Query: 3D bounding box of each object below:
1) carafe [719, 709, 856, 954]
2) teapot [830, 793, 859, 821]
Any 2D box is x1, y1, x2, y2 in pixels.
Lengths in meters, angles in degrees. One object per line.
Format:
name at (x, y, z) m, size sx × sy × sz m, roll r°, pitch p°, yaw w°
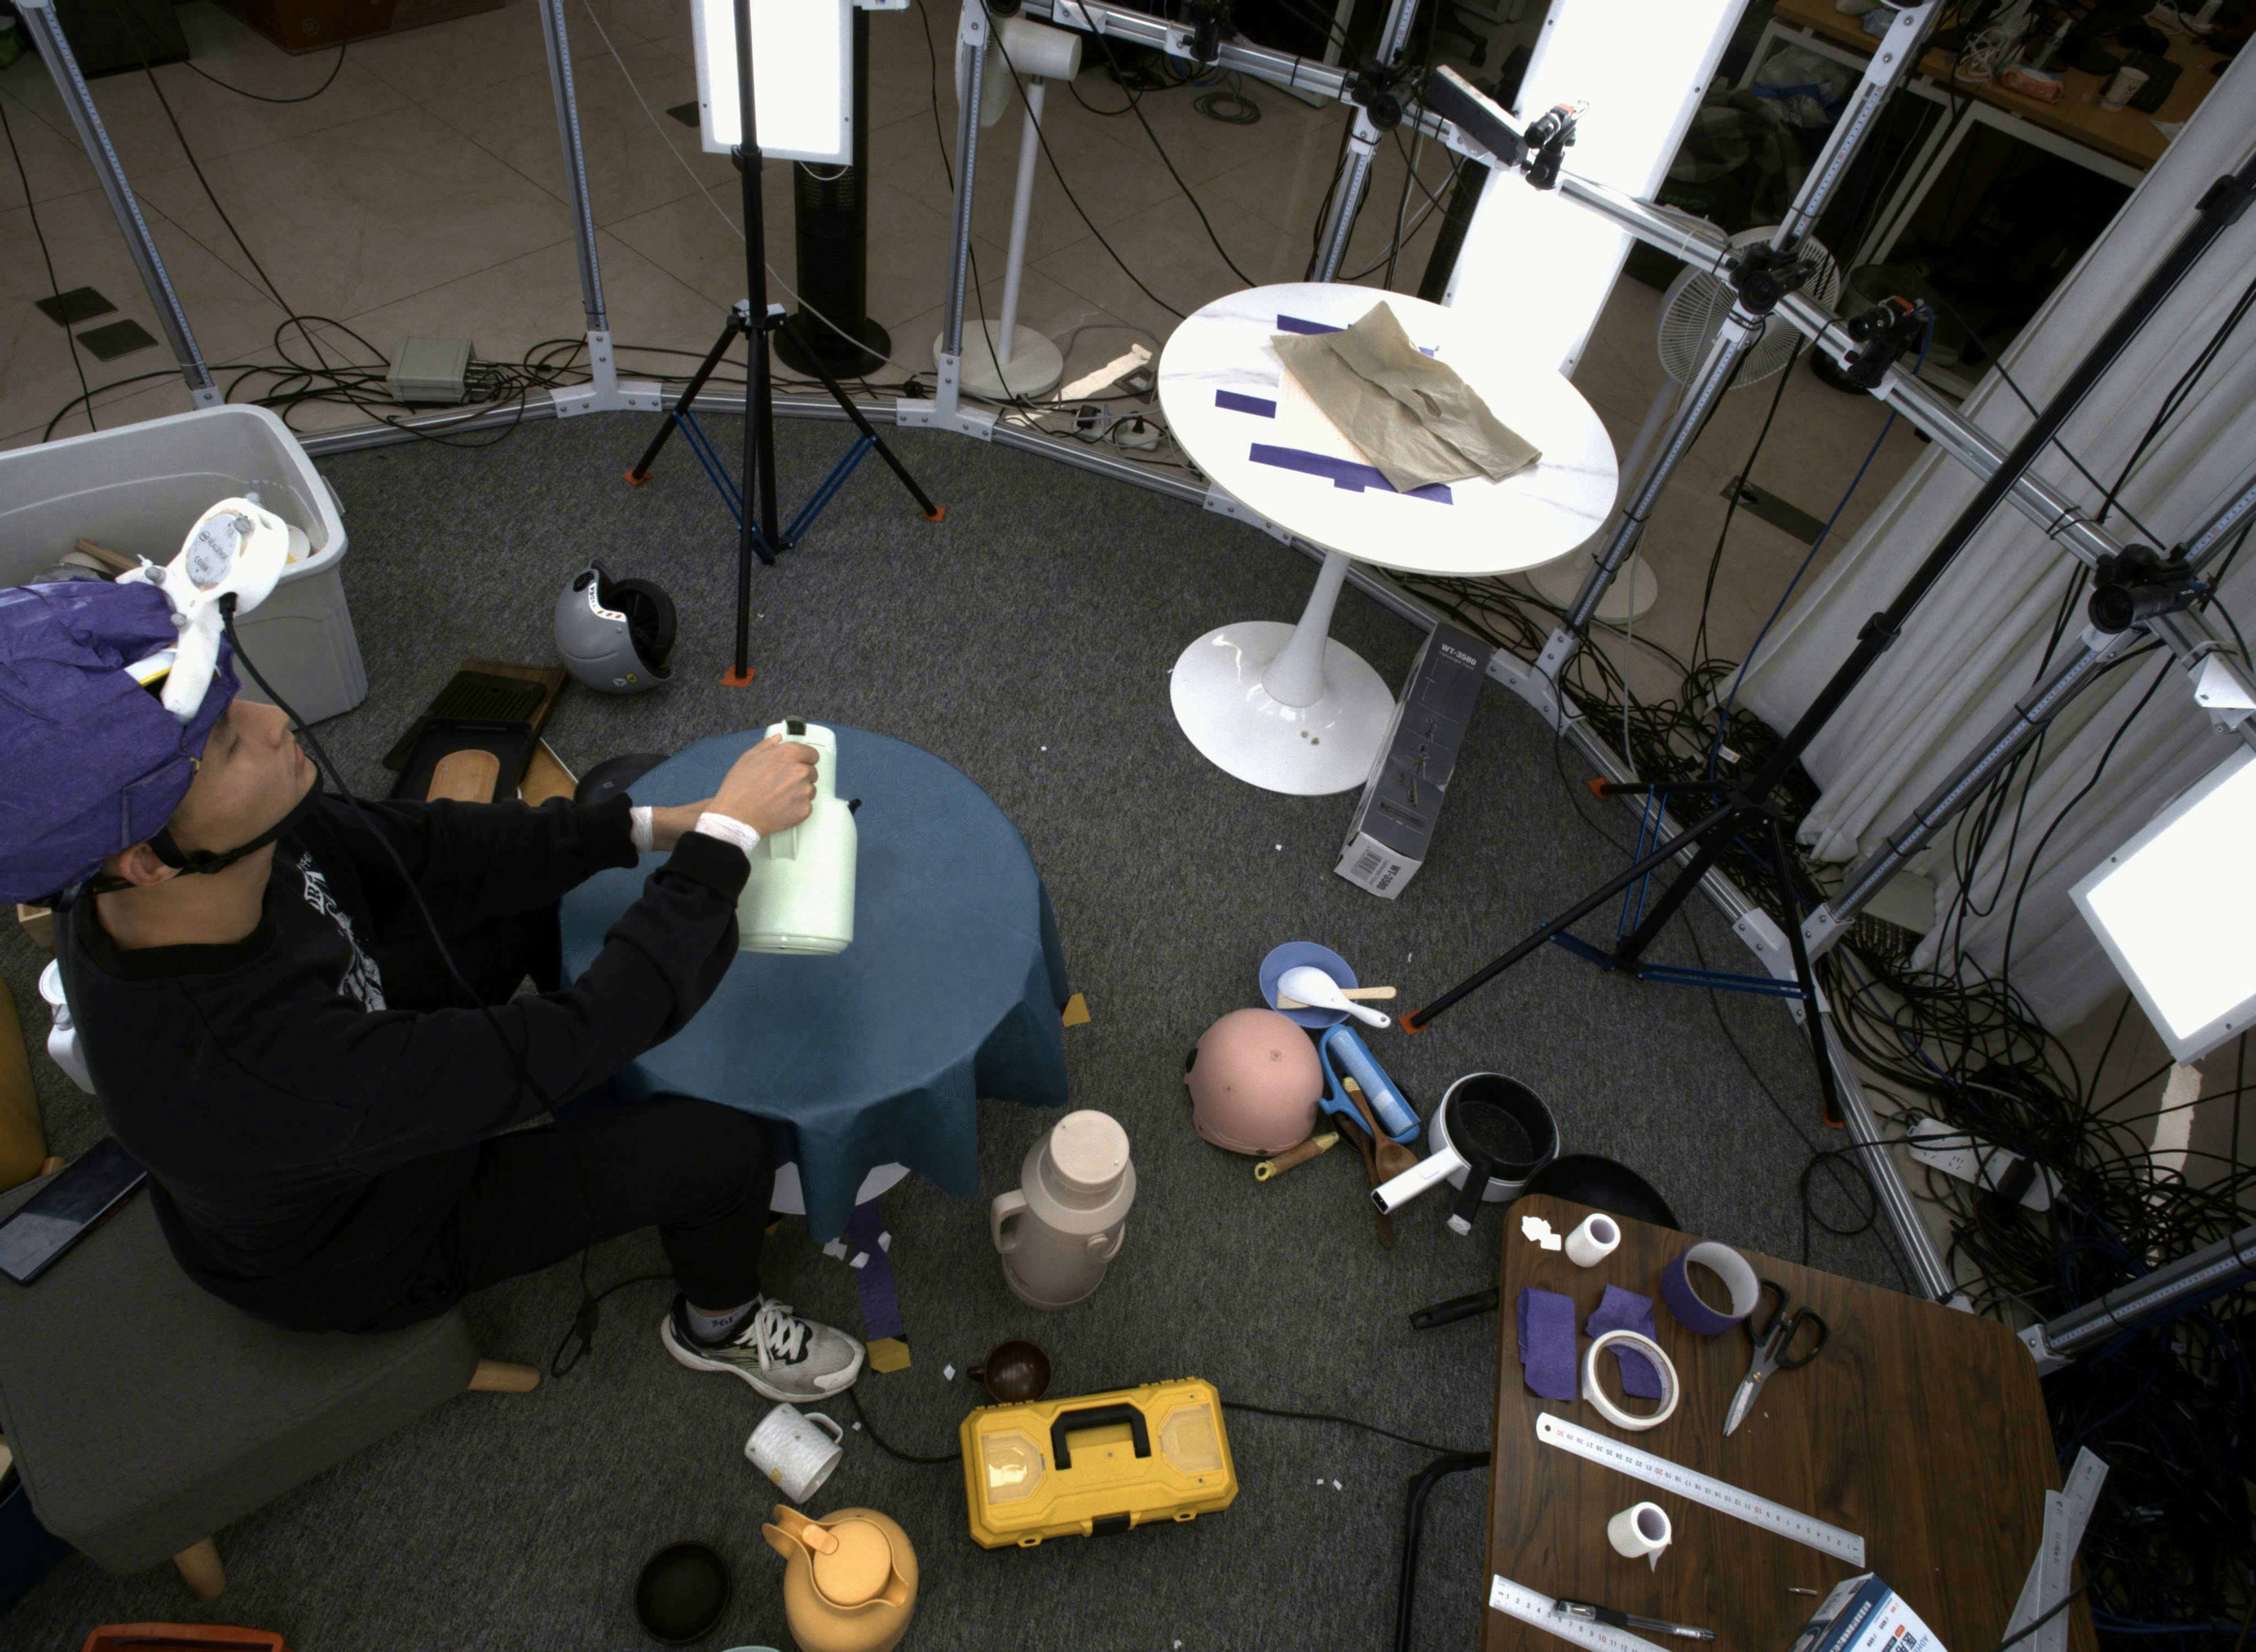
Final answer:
carafe at (-0.371, 0.007, 1.422) m, size 0.144 × 0.186 × 0.259 m, roll 2°, pitch 86°, yaw -8°
teapot at (-0.400, -0.013, 1.612) m, size 0.133 × 0.054 × 0.088 m, roll -7°, pitch 51°, yaw -18°
